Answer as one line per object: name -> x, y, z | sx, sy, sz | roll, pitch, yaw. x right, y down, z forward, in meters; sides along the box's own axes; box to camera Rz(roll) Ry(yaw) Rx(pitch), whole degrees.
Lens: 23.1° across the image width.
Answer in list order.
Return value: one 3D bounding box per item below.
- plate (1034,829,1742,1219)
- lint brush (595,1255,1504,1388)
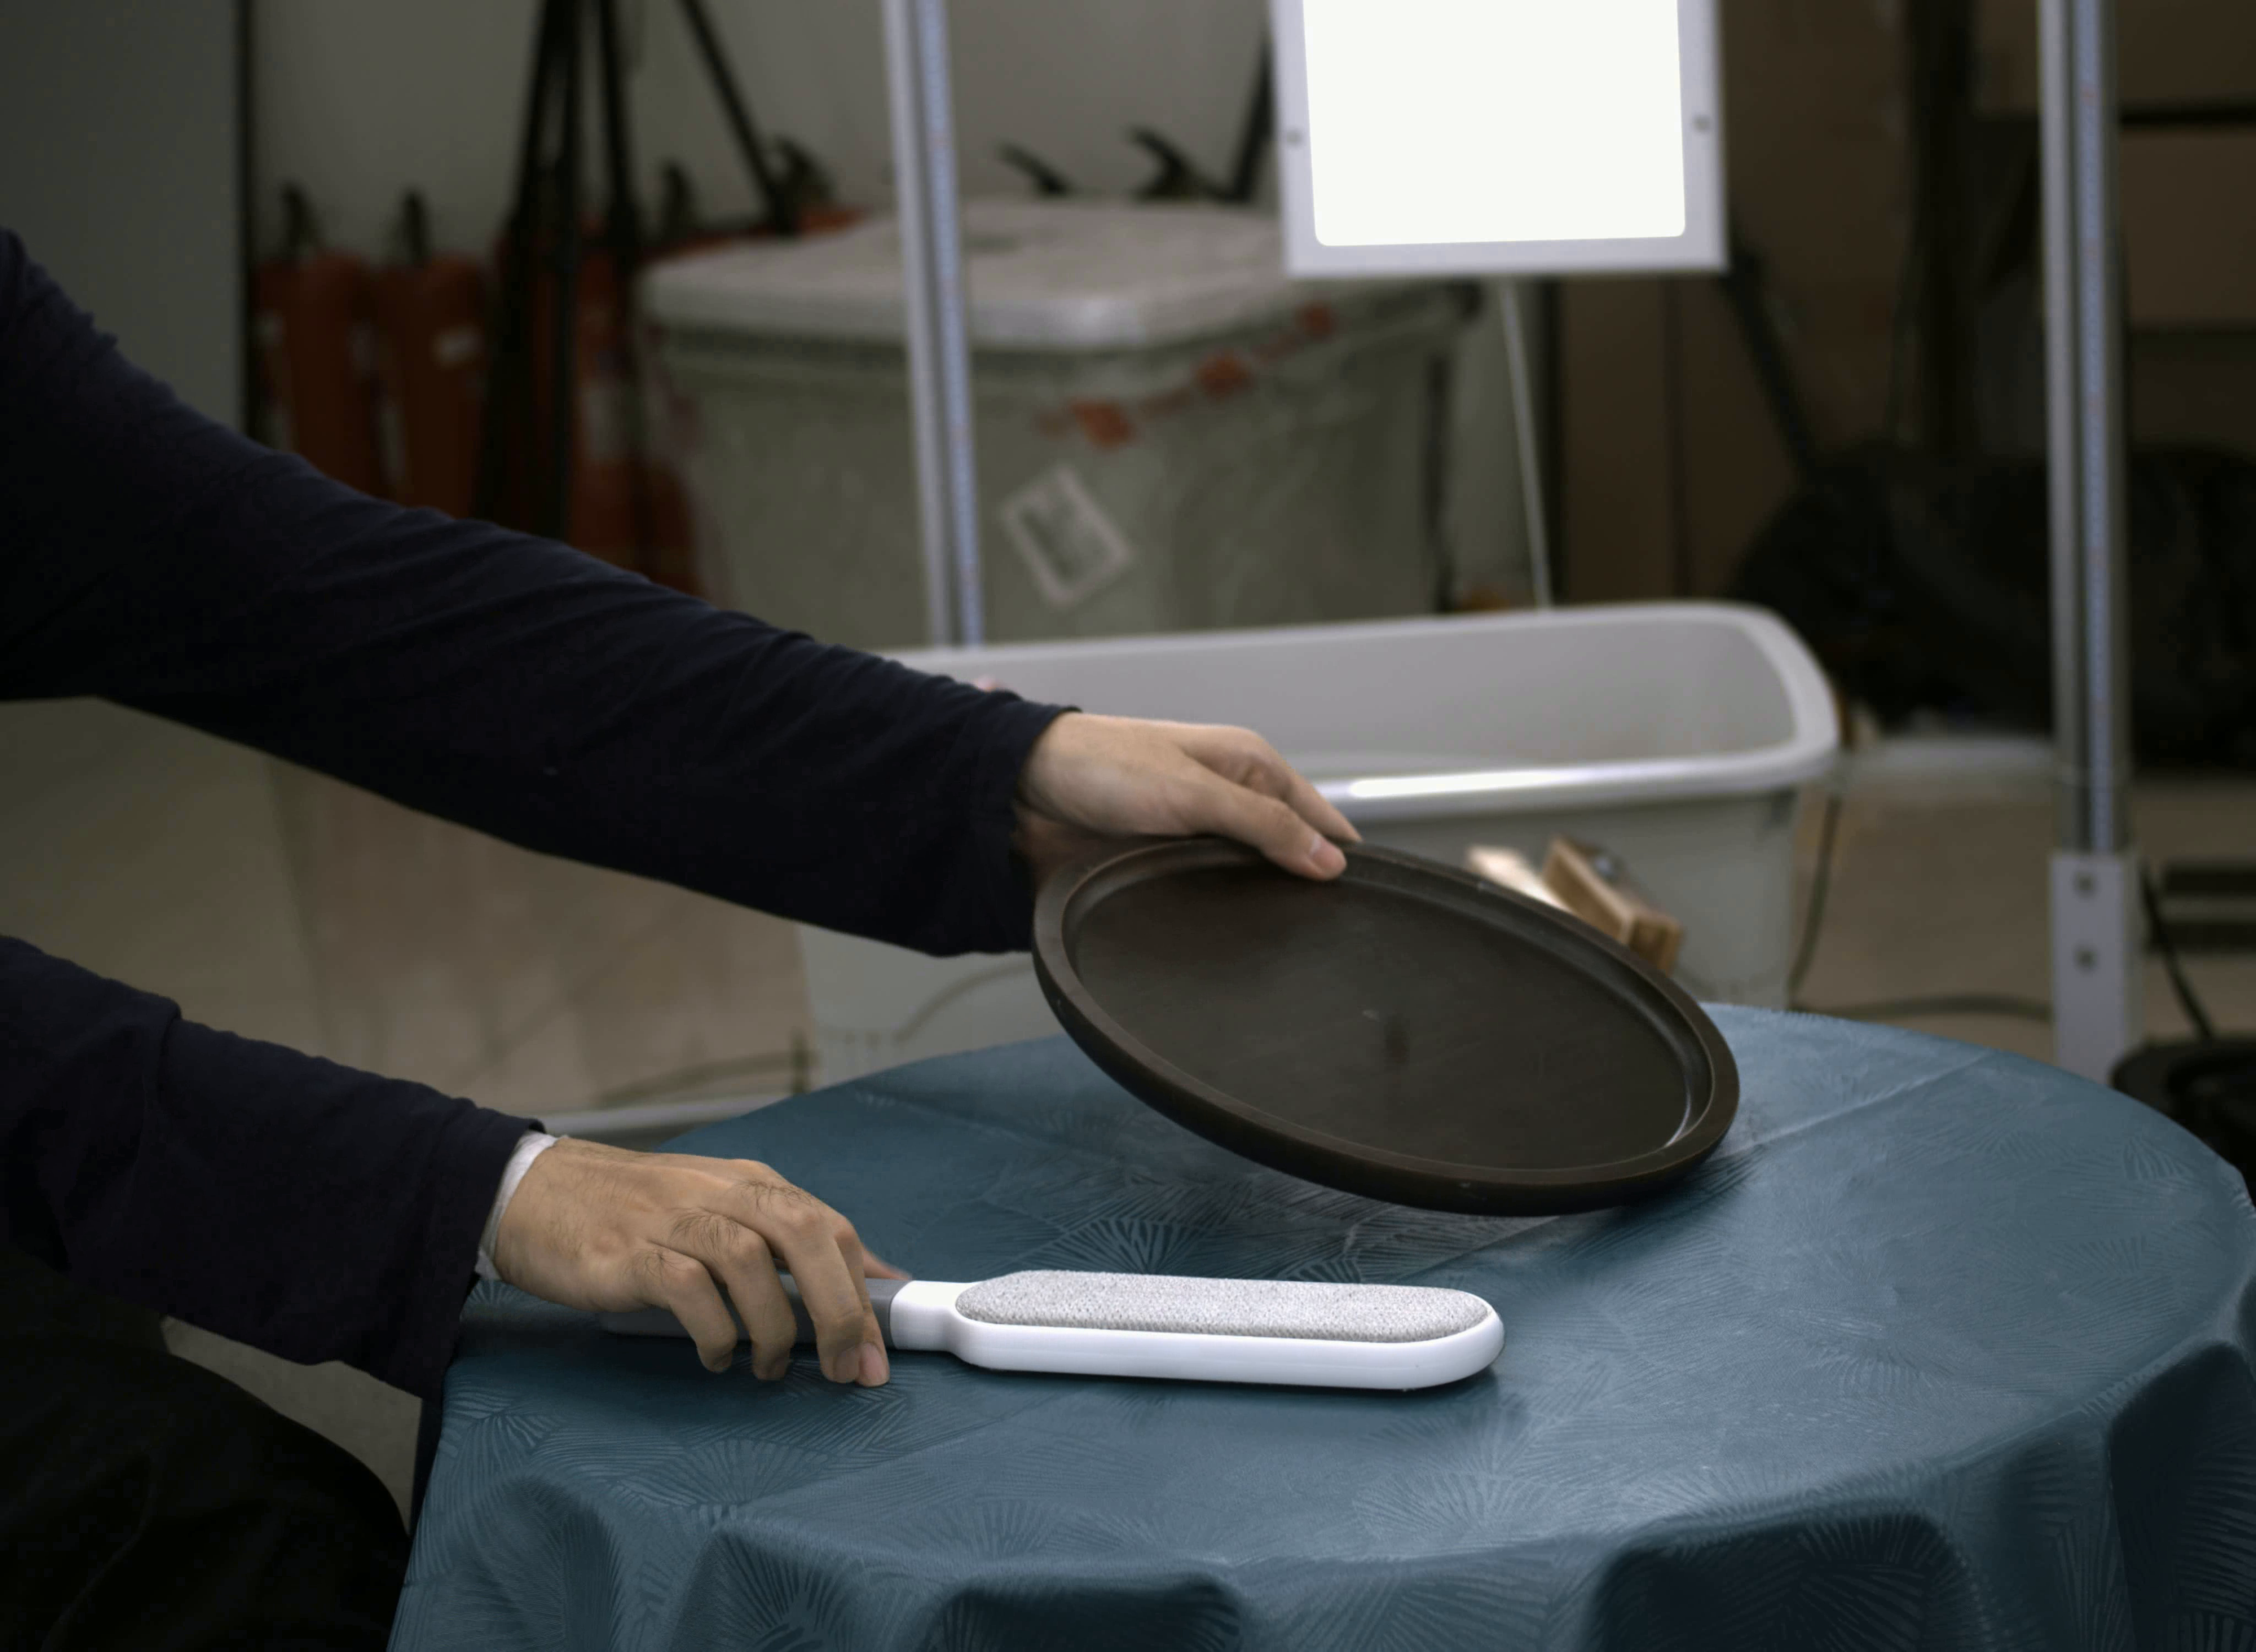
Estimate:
plate -> 0.089, 0.067, 1.903 | 0.253, 0.029, 0.254 | 12, 22, -6
lint brush -> -0.030, 0.153, 1.747 | 0.313, 0.021, 0.059 | 1, 21, 24
